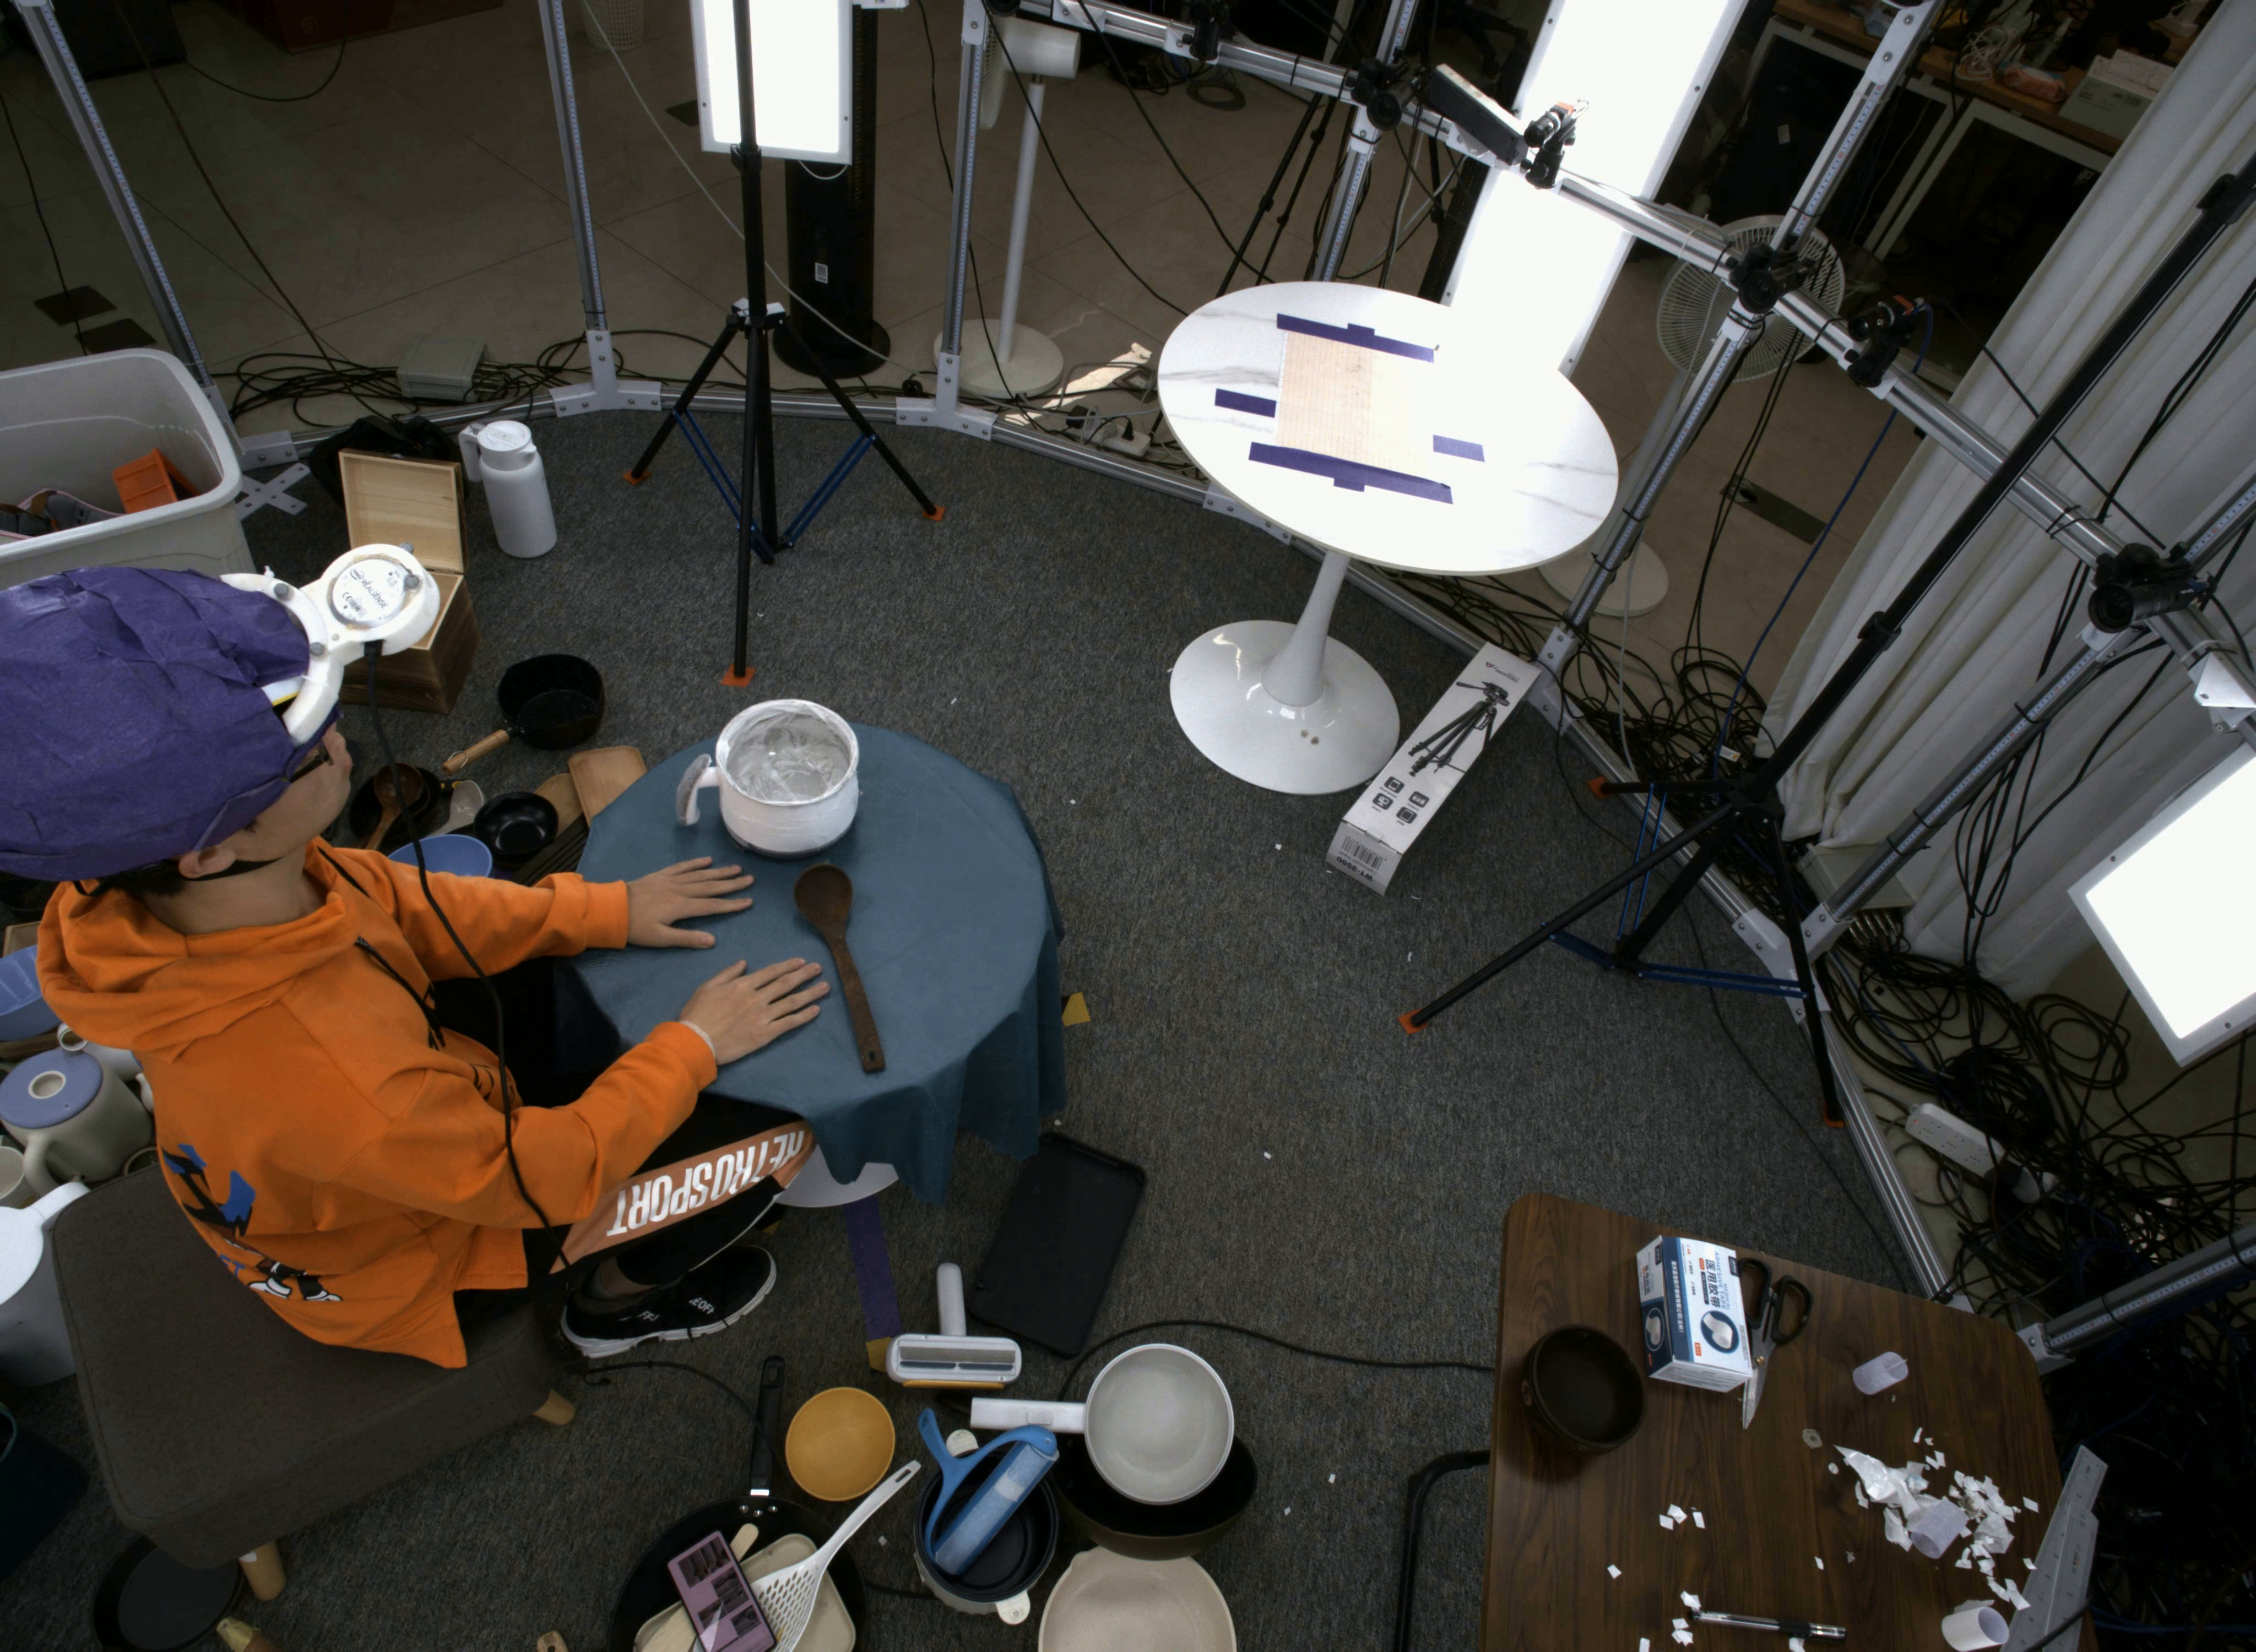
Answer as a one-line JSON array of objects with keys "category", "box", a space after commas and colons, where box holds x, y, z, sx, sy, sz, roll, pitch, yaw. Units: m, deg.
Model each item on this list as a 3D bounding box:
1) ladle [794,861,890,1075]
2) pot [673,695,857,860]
[{"category": "ladle", "box": [-0.339, 0.163, 1.568, 0.076, 0.073, 0.267, -16, 58, -18]}, {"category": "pot", "box": [-0.465, -0.055, 1.654, 0.235, 0.139, 0.174, -9, 55, -20]}]
